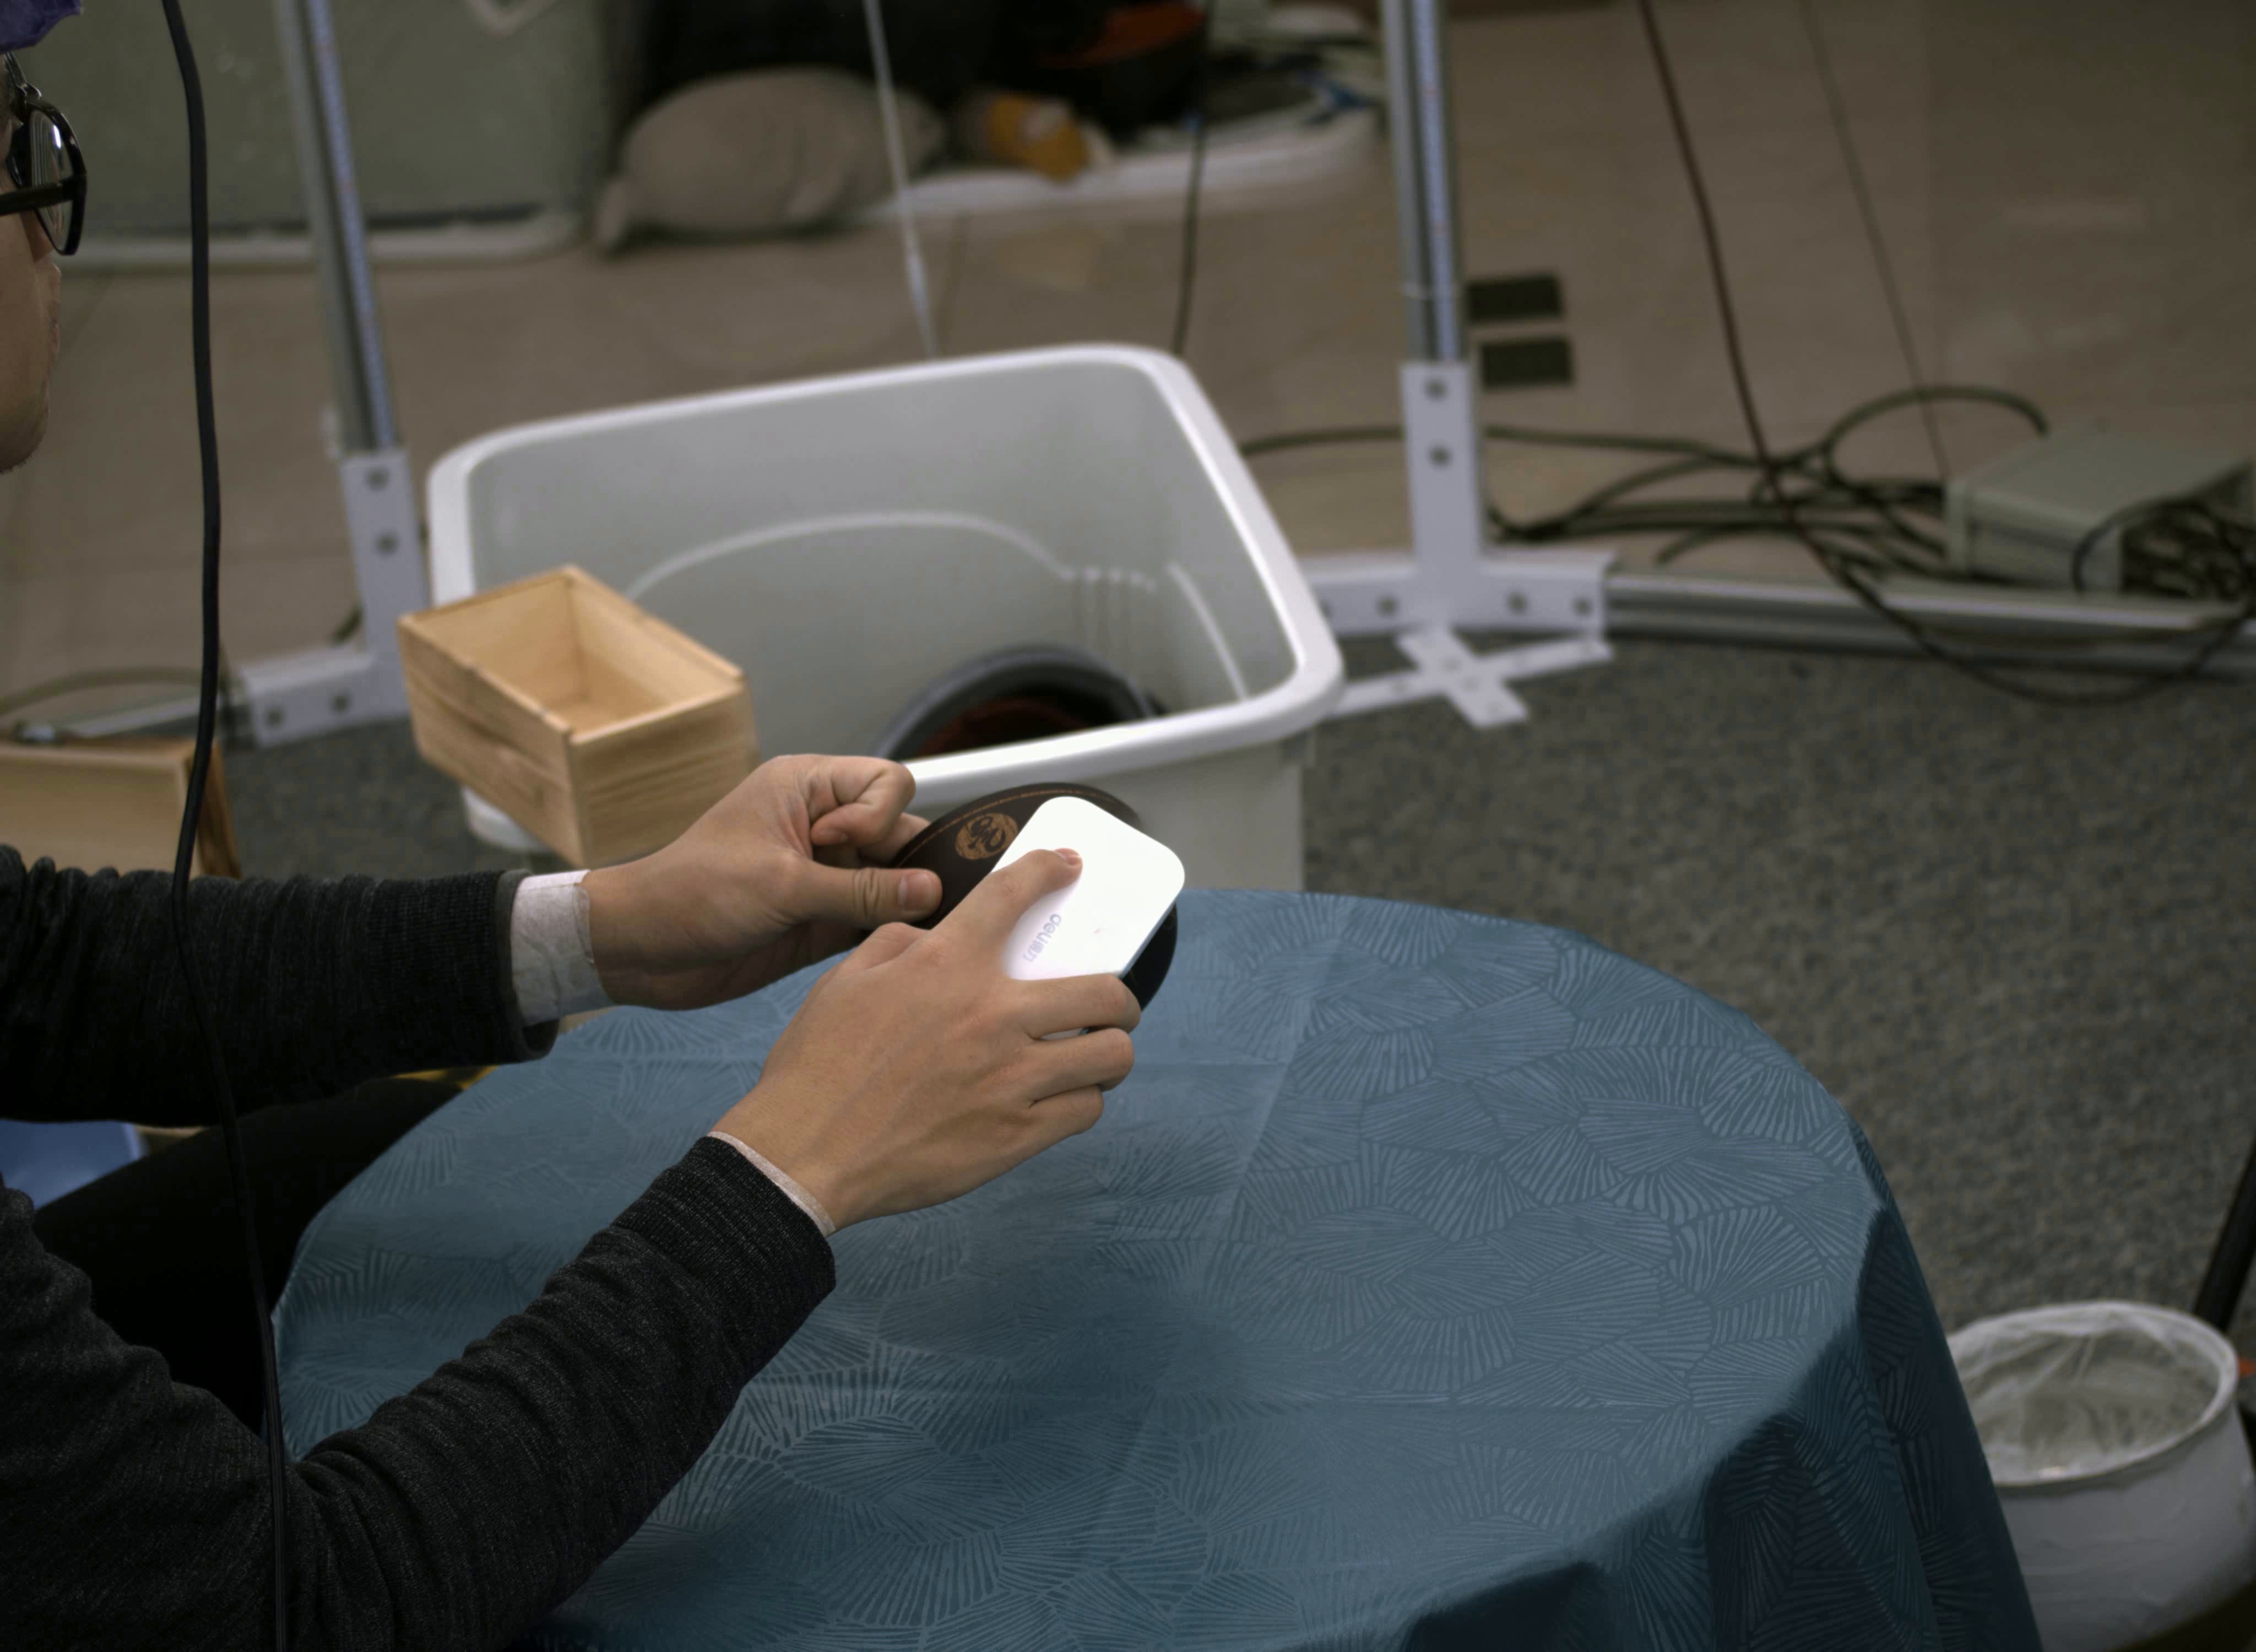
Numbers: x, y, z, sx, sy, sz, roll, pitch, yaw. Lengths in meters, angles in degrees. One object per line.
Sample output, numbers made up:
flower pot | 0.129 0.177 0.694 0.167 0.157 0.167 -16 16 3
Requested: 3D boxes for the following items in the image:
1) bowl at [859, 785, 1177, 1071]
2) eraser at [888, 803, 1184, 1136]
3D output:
bowl | -0.036 0.049 2.120 0.117 0.120 0.069 -14 51 -16
eraser | -0.034 0.050 2.038 0.063 0.035 0.129 30 59 9
